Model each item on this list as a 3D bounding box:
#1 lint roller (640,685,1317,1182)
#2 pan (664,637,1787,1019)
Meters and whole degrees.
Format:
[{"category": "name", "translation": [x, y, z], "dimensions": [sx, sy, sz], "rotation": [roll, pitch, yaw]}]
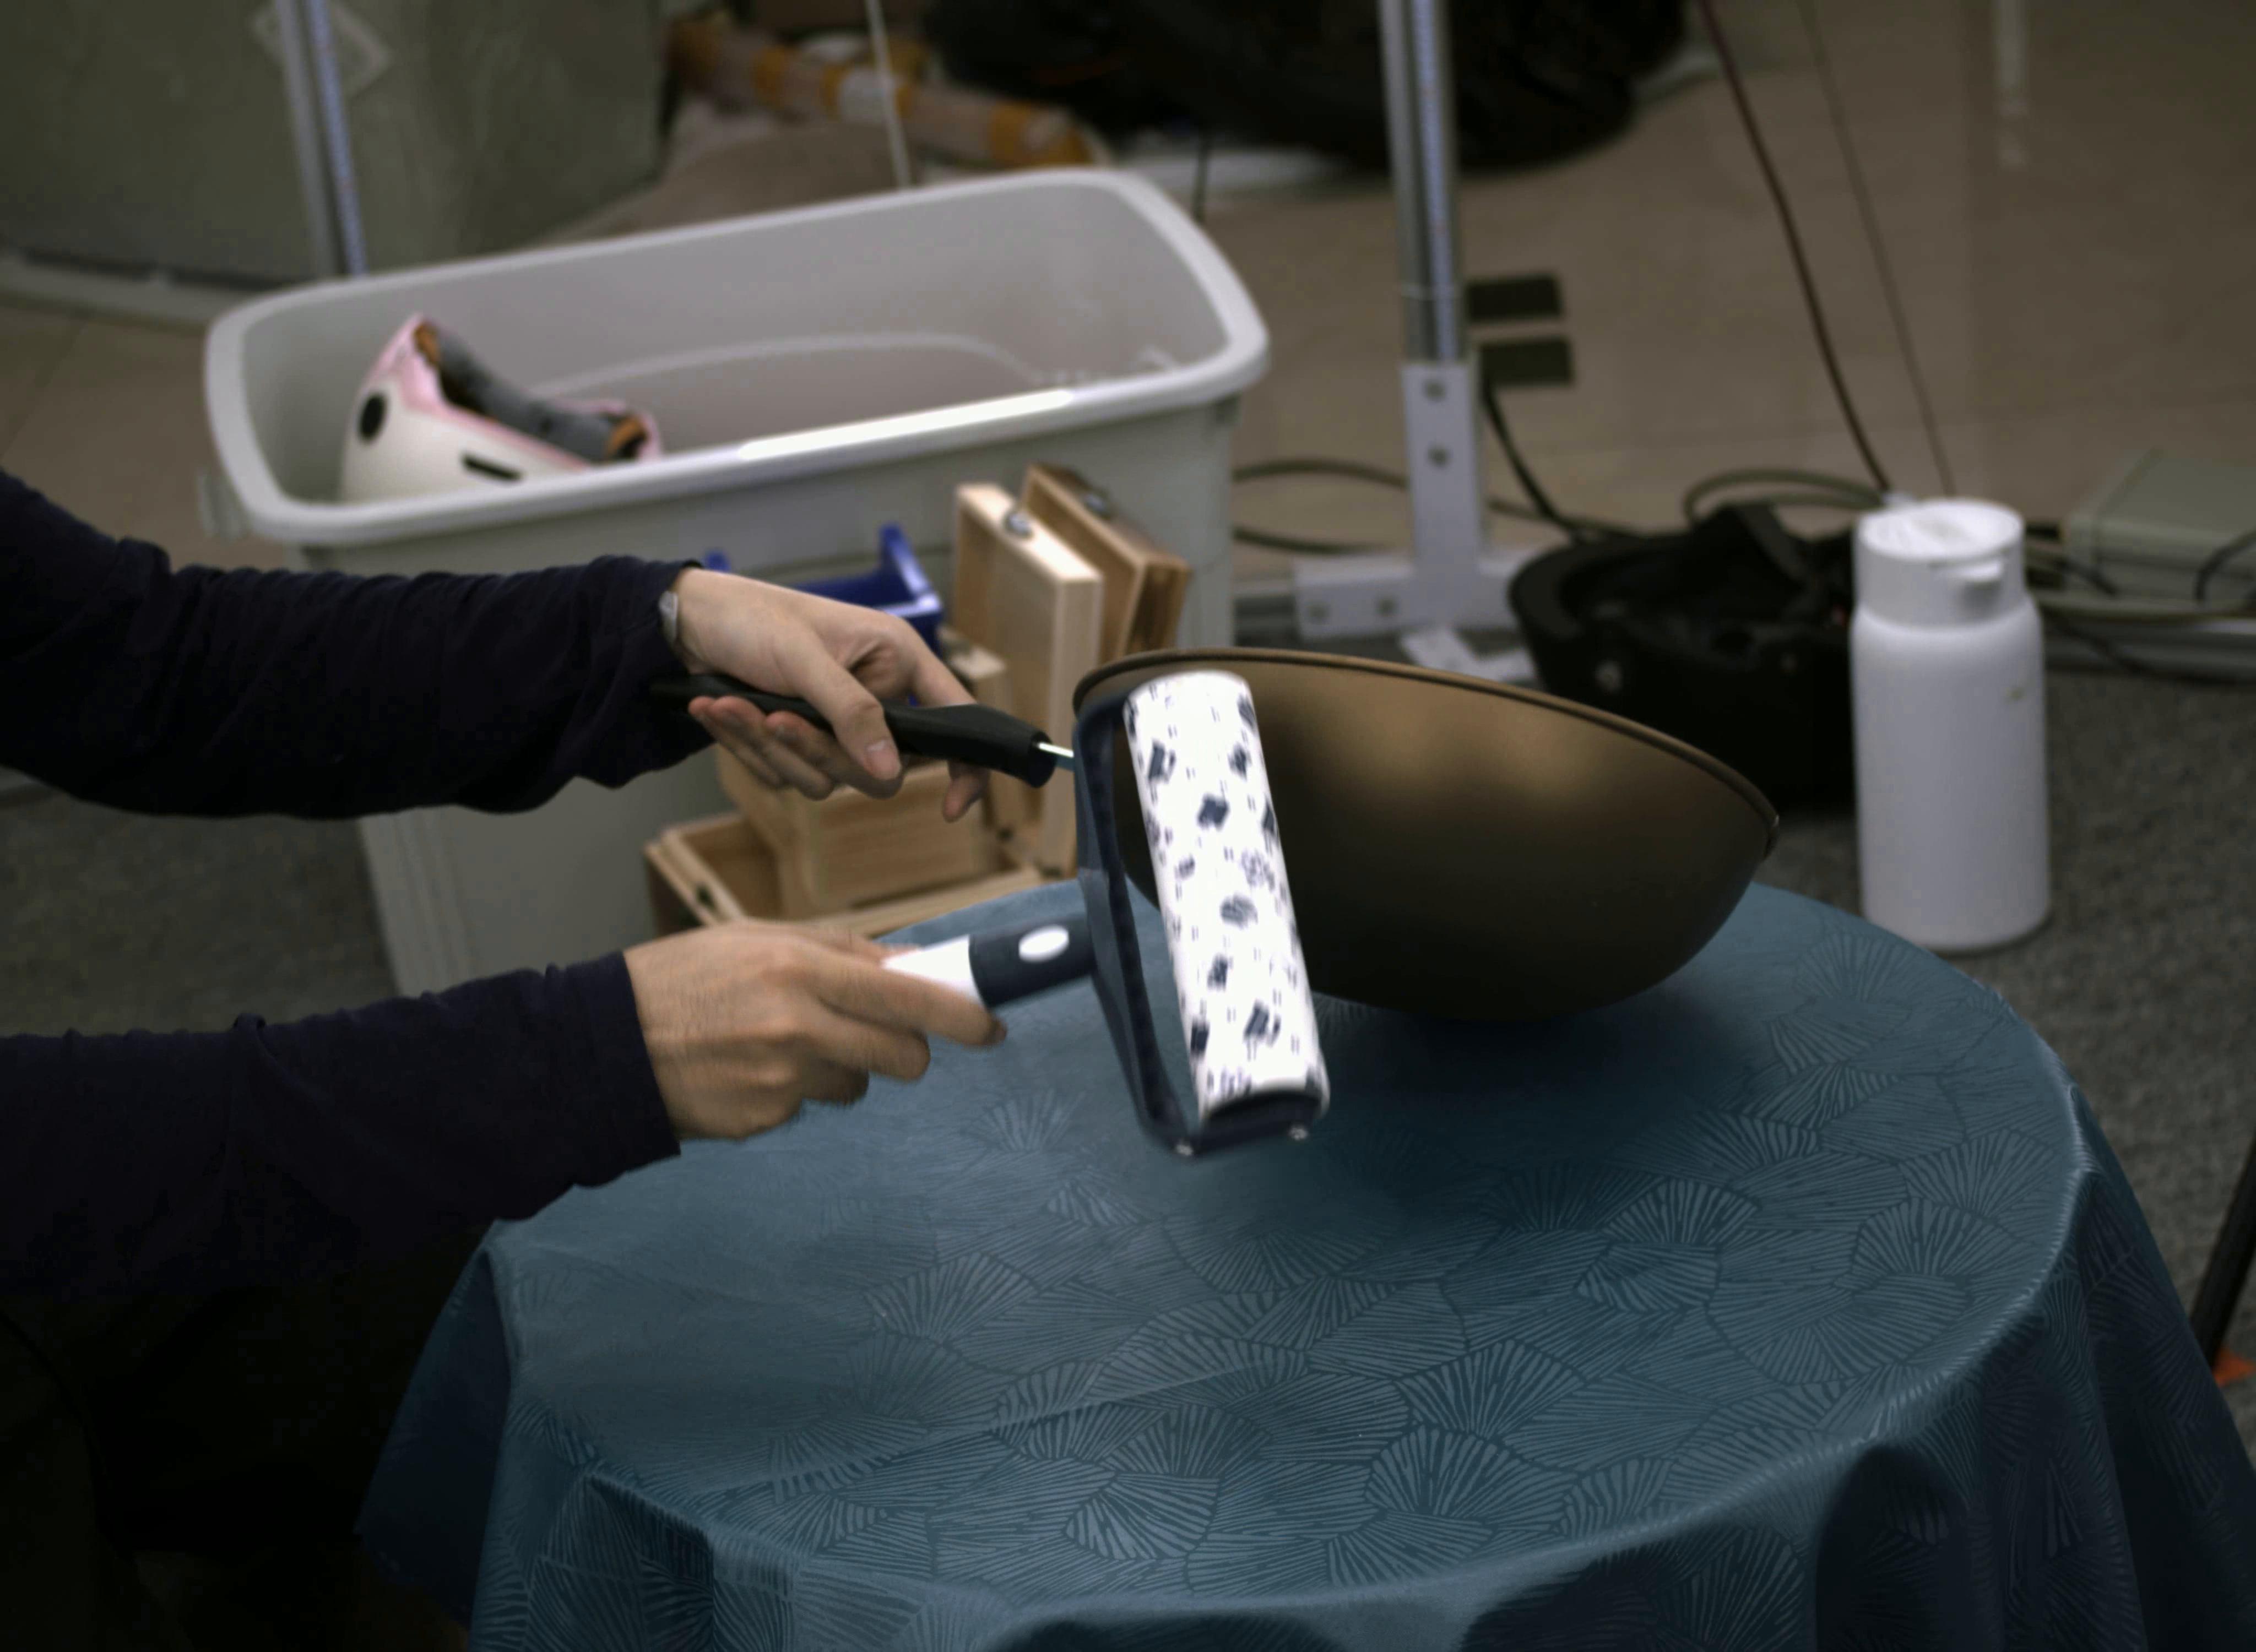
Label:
[{"category": "lint roller", "translation": [-0.062, 0.062, 2.019], "dimensions": [0.247, 0.051, 0.174], "rotation": [-16, 68, 13]}, {"category": "pan", "translation": [0.022, 0.003, 2.203], "dimensions": [0.462, 0.086, 0.291], "rotation": [6, -16, 19]}]
